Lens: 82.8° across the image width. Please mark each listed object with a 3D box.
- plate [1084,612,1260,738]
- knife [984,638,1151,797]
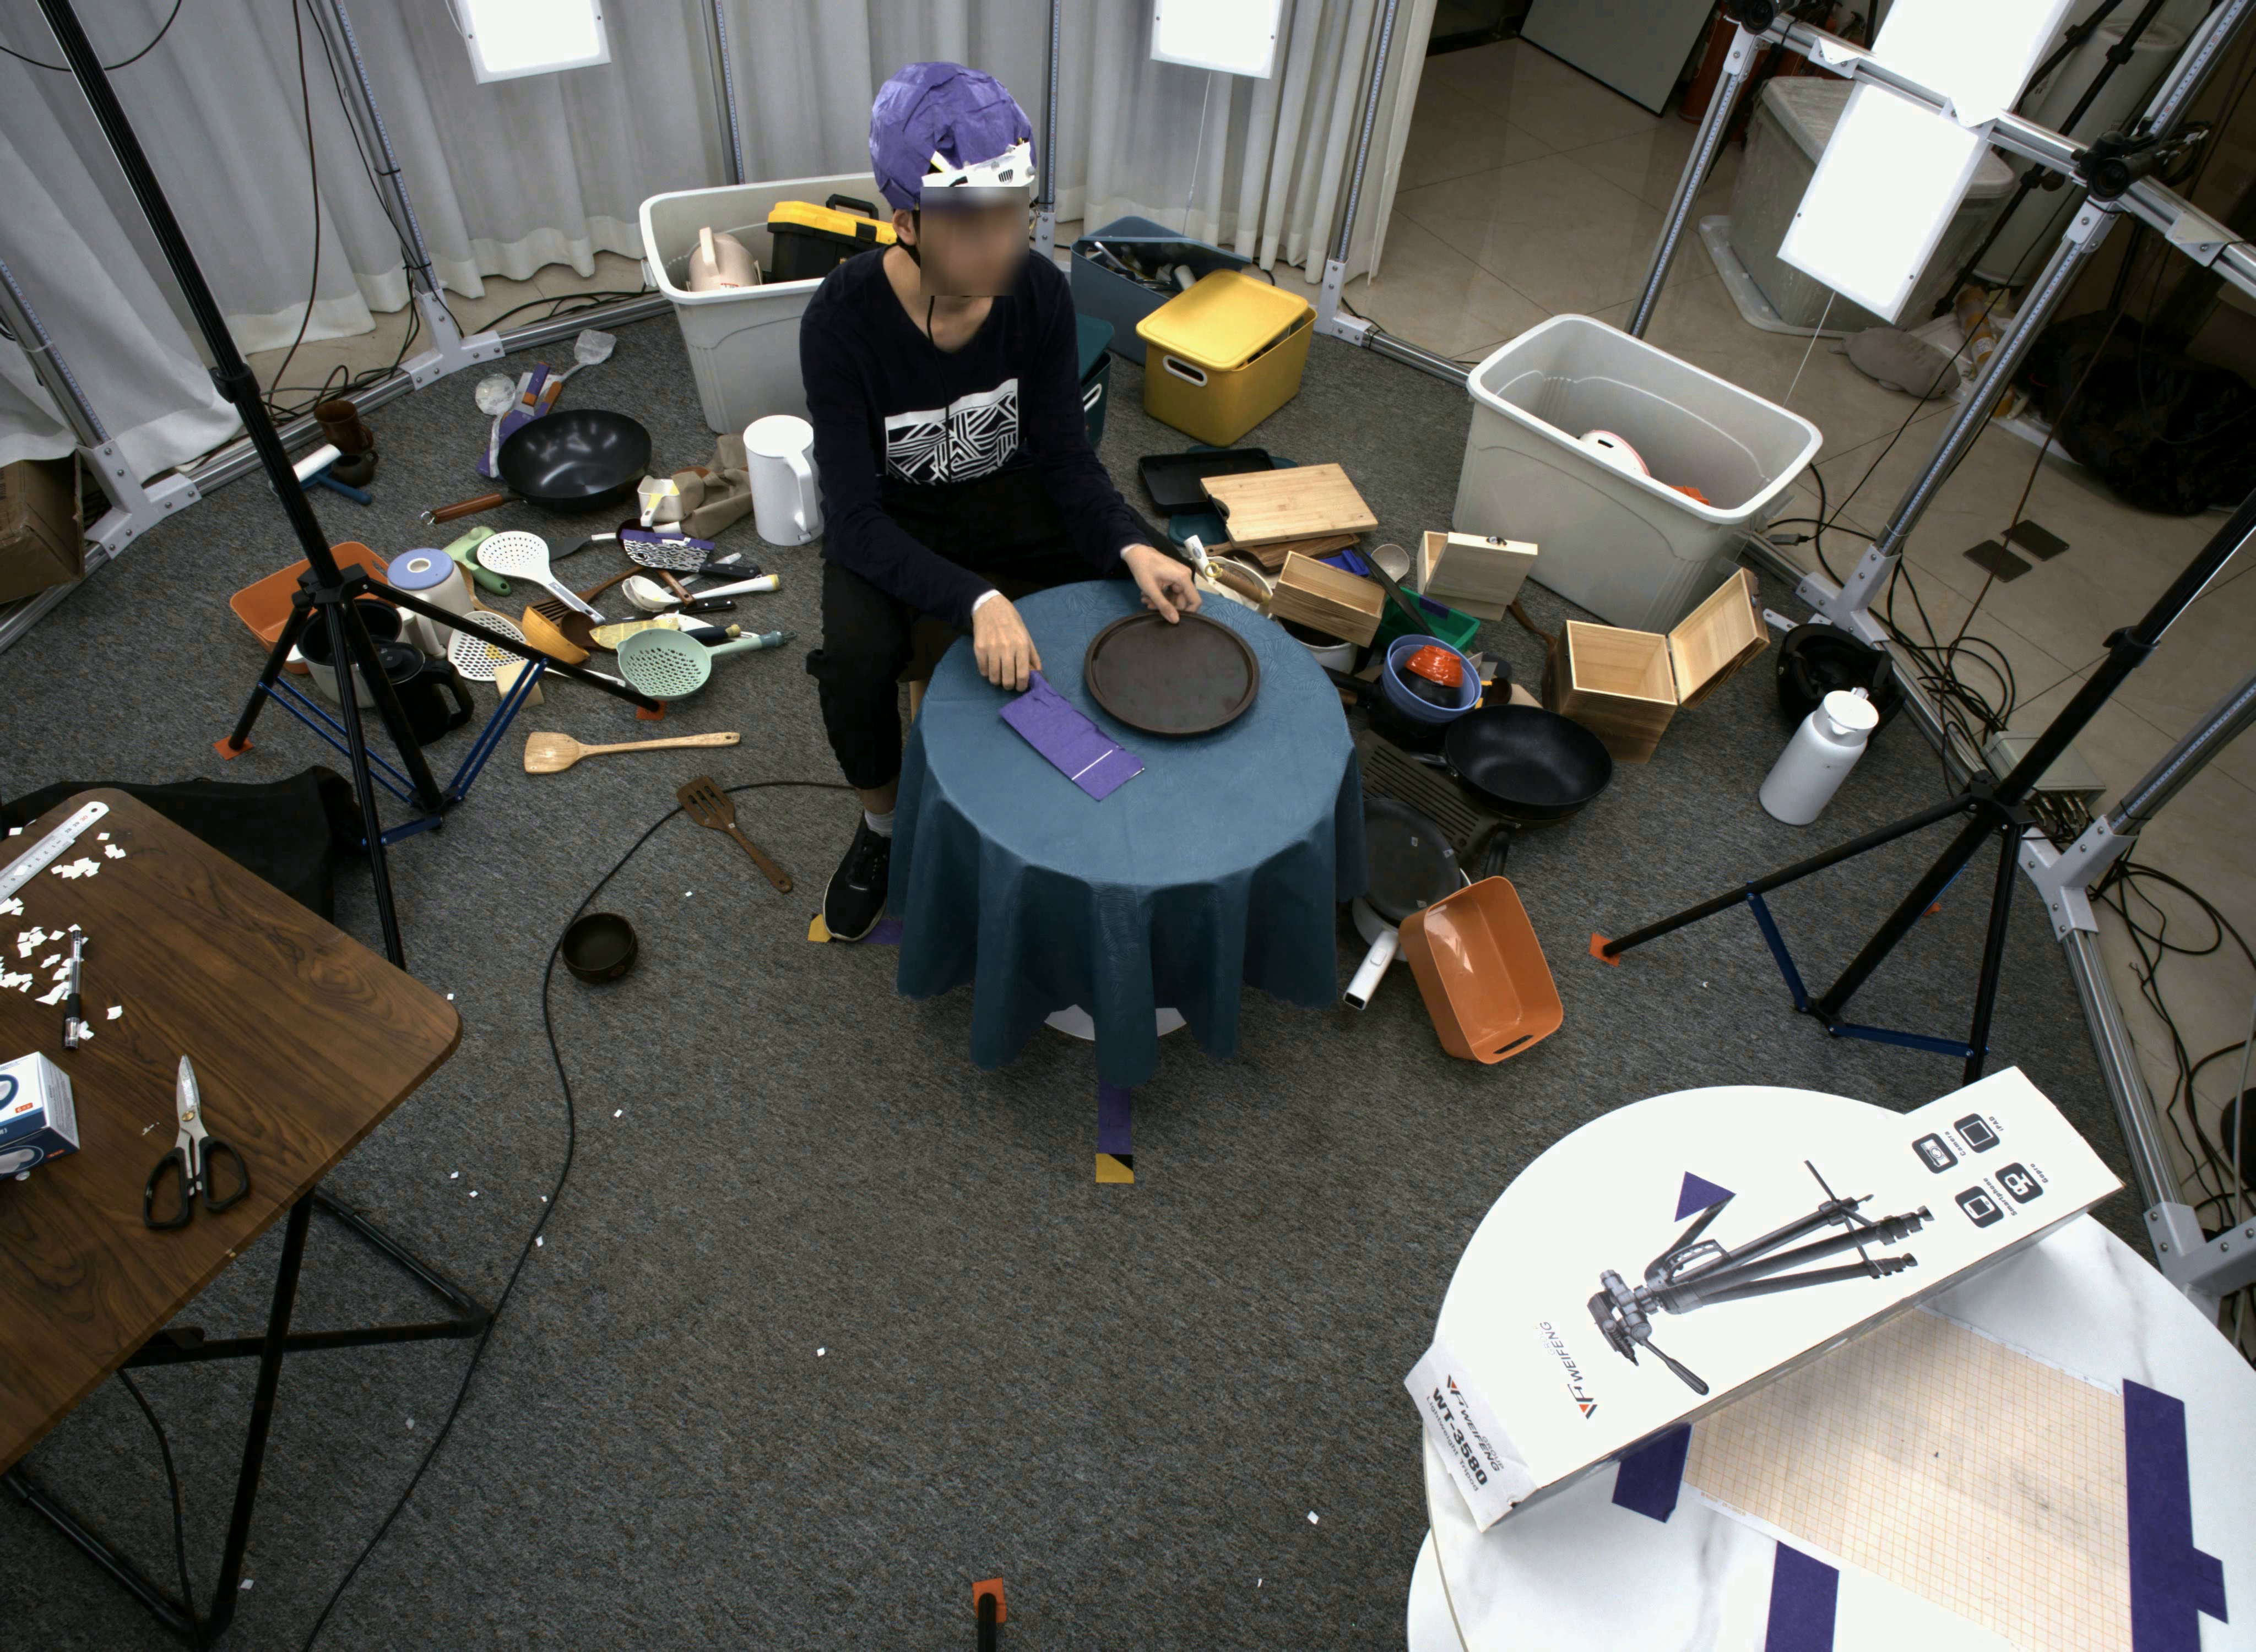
[{"bbox_3d":[0.063,-0.219,1.845,0.254,0.028,0.261,2,50,-3],"label":"plate"},{"bbox_3d":[-0.111,-0.154,1.776,0.105,0.031,0.320,-34,60,-29],"label":"knife"}]
